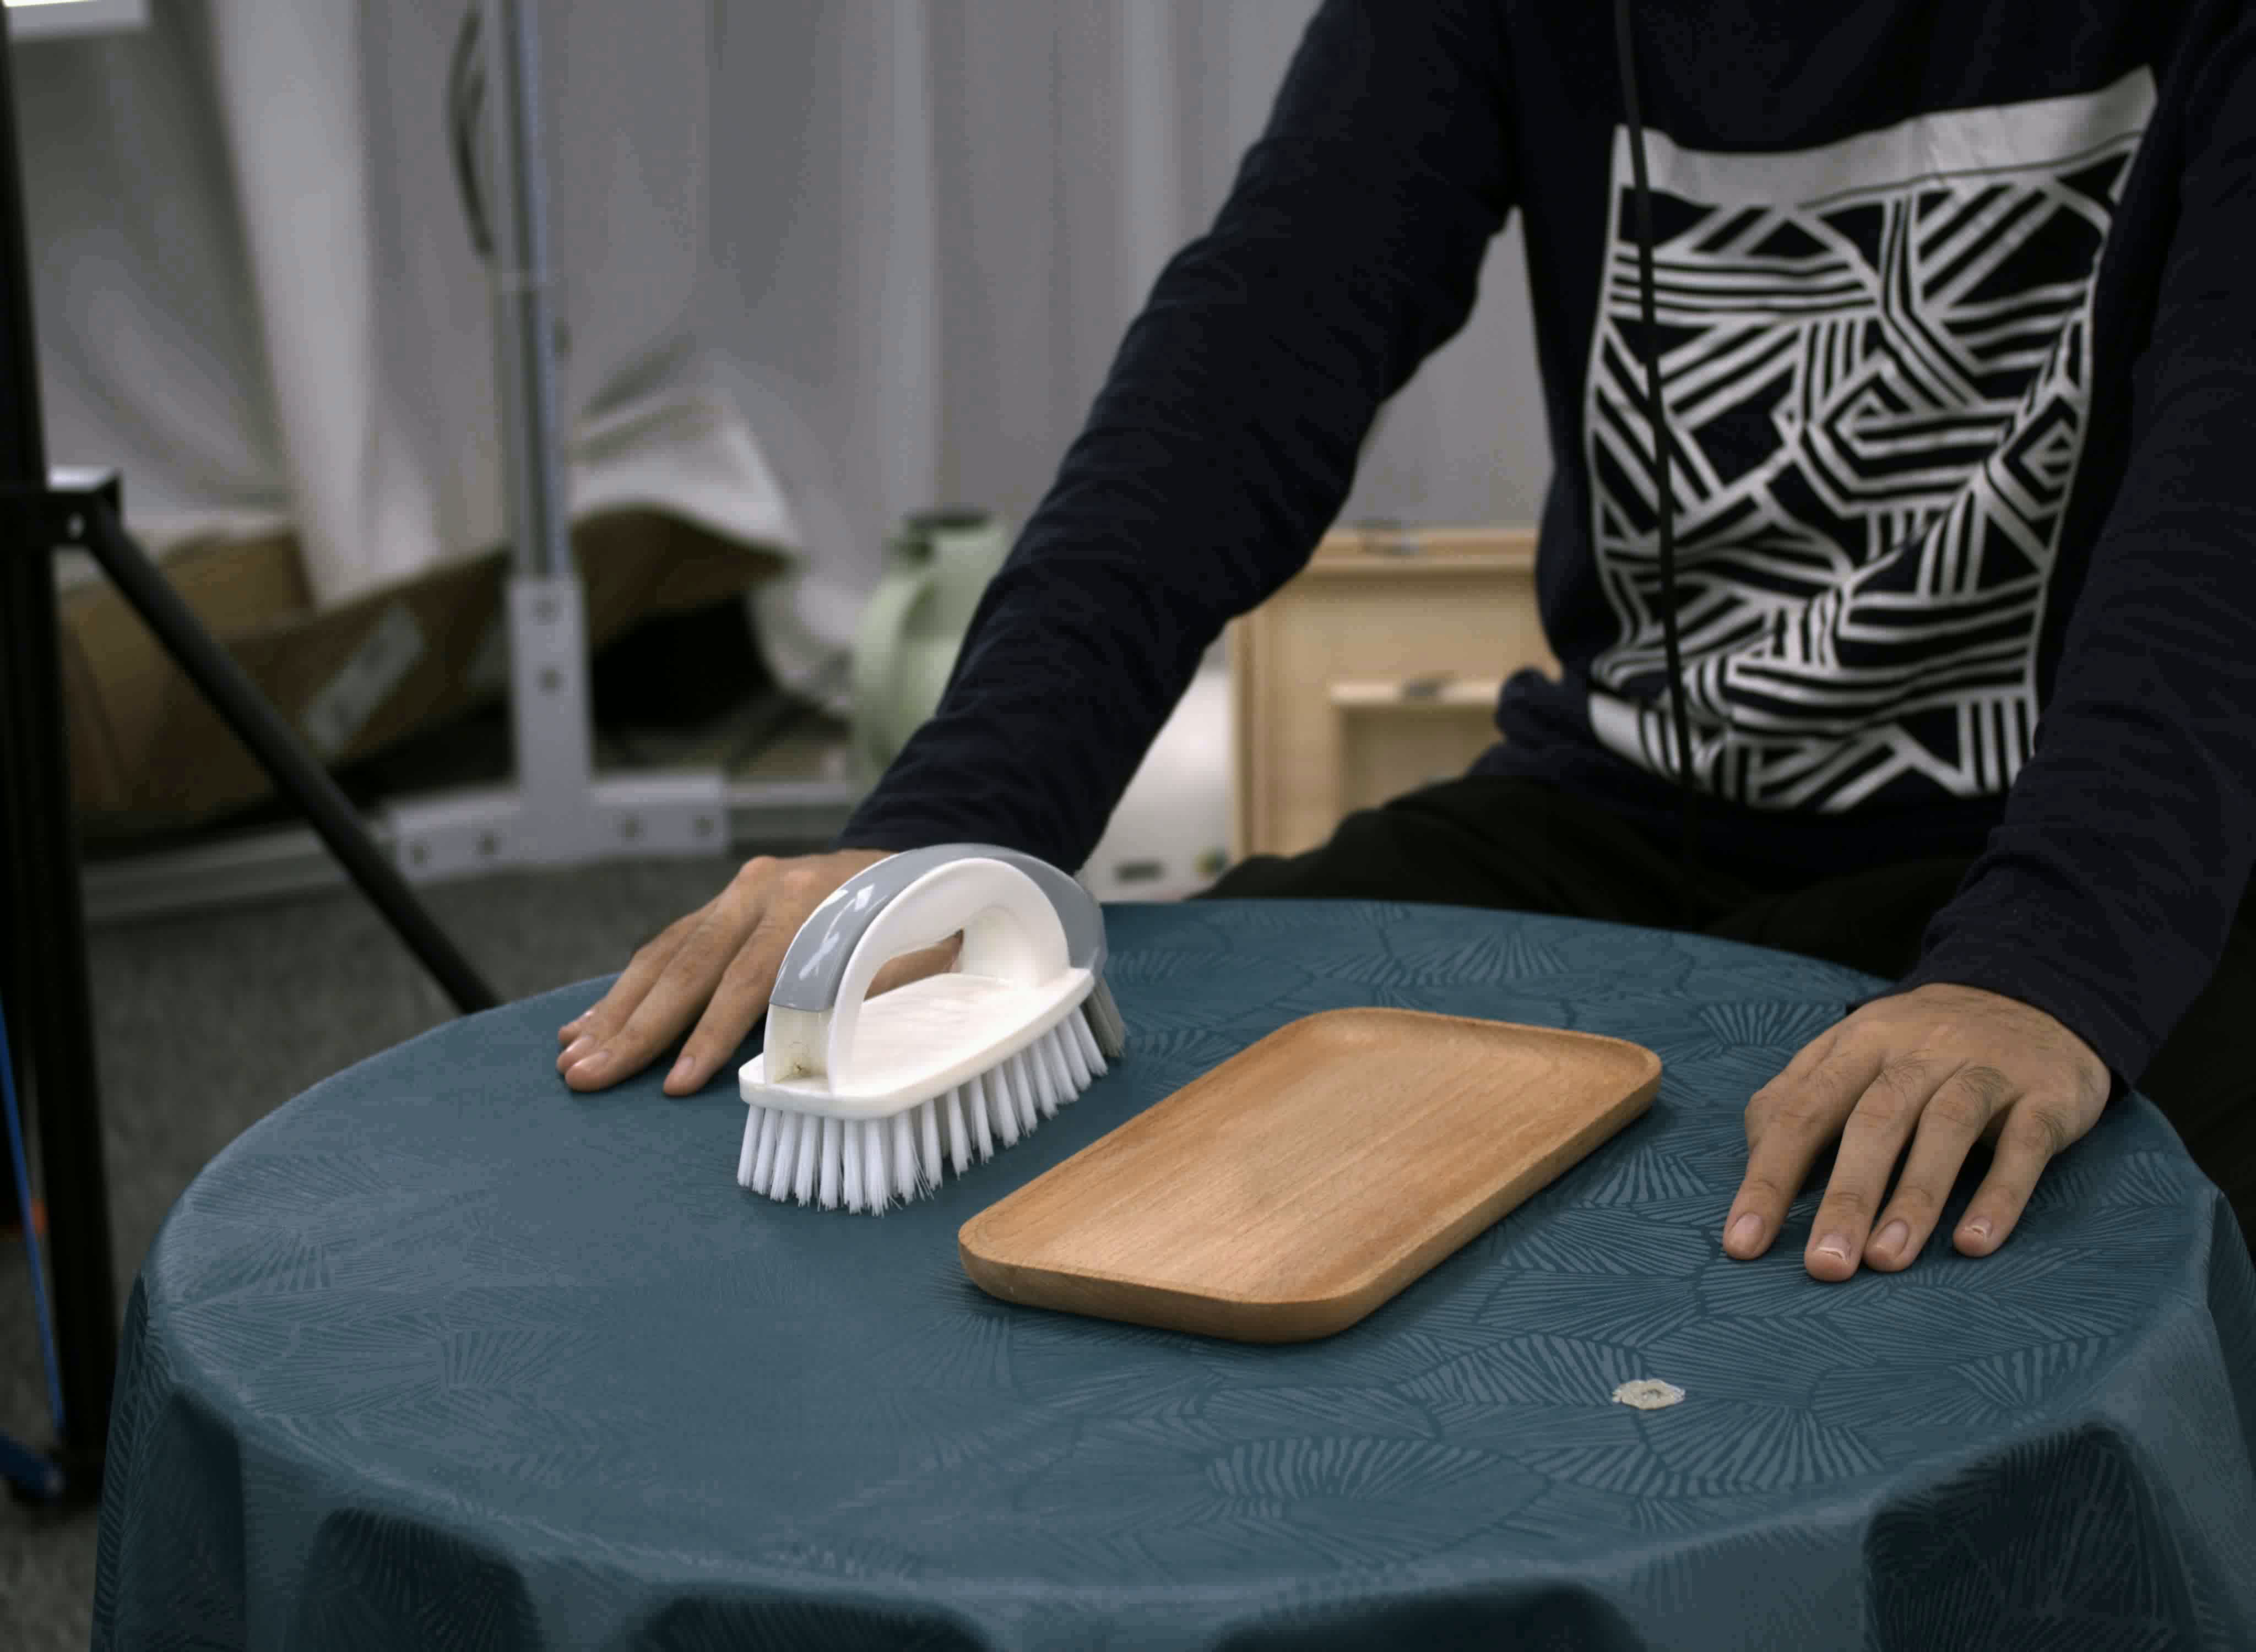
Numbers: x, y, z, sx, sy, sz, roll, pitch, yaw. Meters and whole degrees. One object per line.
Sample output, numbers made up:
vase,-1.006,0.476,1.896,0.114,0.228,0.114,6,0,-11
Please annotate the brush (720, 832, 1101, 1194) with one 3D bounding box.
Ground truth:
brush,-0.056,0.046,1.620,0.062,0.094,0.172,9,17,31

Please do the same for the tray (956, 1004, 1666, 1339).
tray,0.058,0.099,1.554,0.133,0.023,0.246,9,19,29
